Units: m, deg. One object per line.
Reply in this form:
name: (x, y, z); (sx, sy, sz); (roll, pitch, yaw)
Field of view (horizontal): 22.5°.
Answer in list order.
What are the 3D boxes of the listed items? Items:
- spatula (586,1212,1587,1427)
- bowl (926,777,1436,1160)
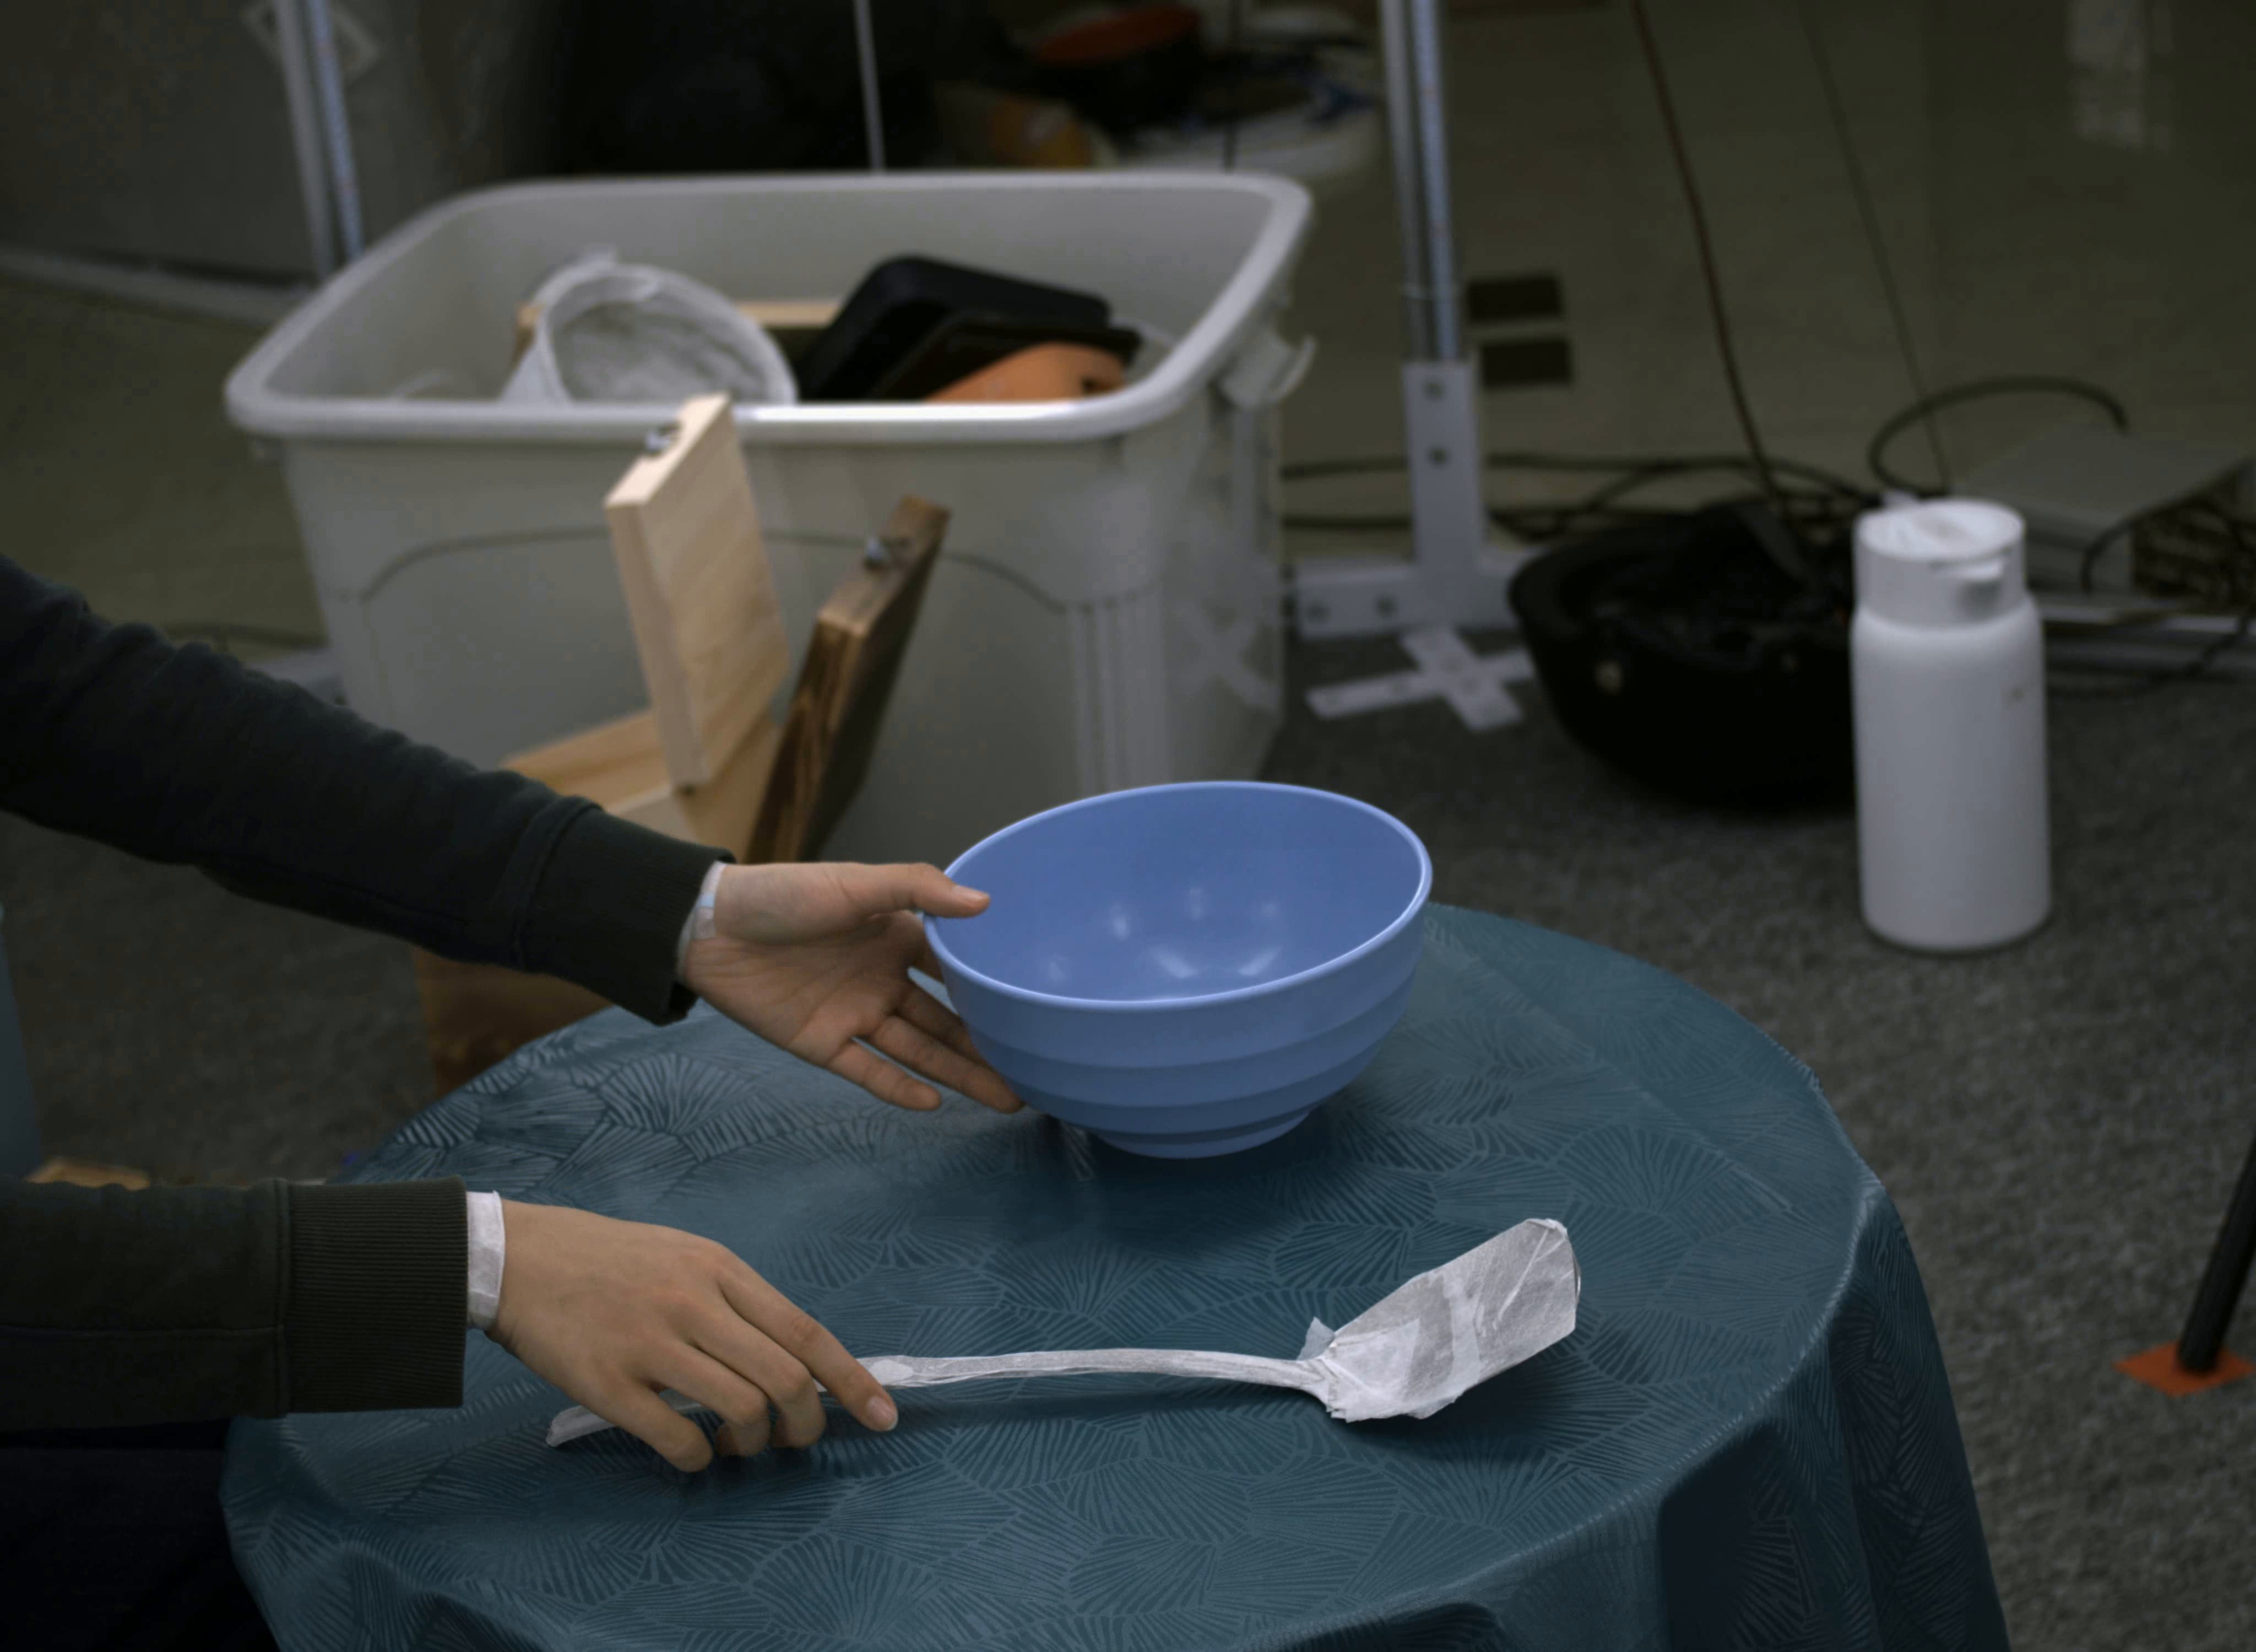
spatula: (-0.019, 0.185, 2.012); (0.364, 0.045, 0.097); (-3, 27, 6)
bowl: (0.024, 0.066, 2.189); (0.196, 0.097, 0.193); (-4, 27, 2)
